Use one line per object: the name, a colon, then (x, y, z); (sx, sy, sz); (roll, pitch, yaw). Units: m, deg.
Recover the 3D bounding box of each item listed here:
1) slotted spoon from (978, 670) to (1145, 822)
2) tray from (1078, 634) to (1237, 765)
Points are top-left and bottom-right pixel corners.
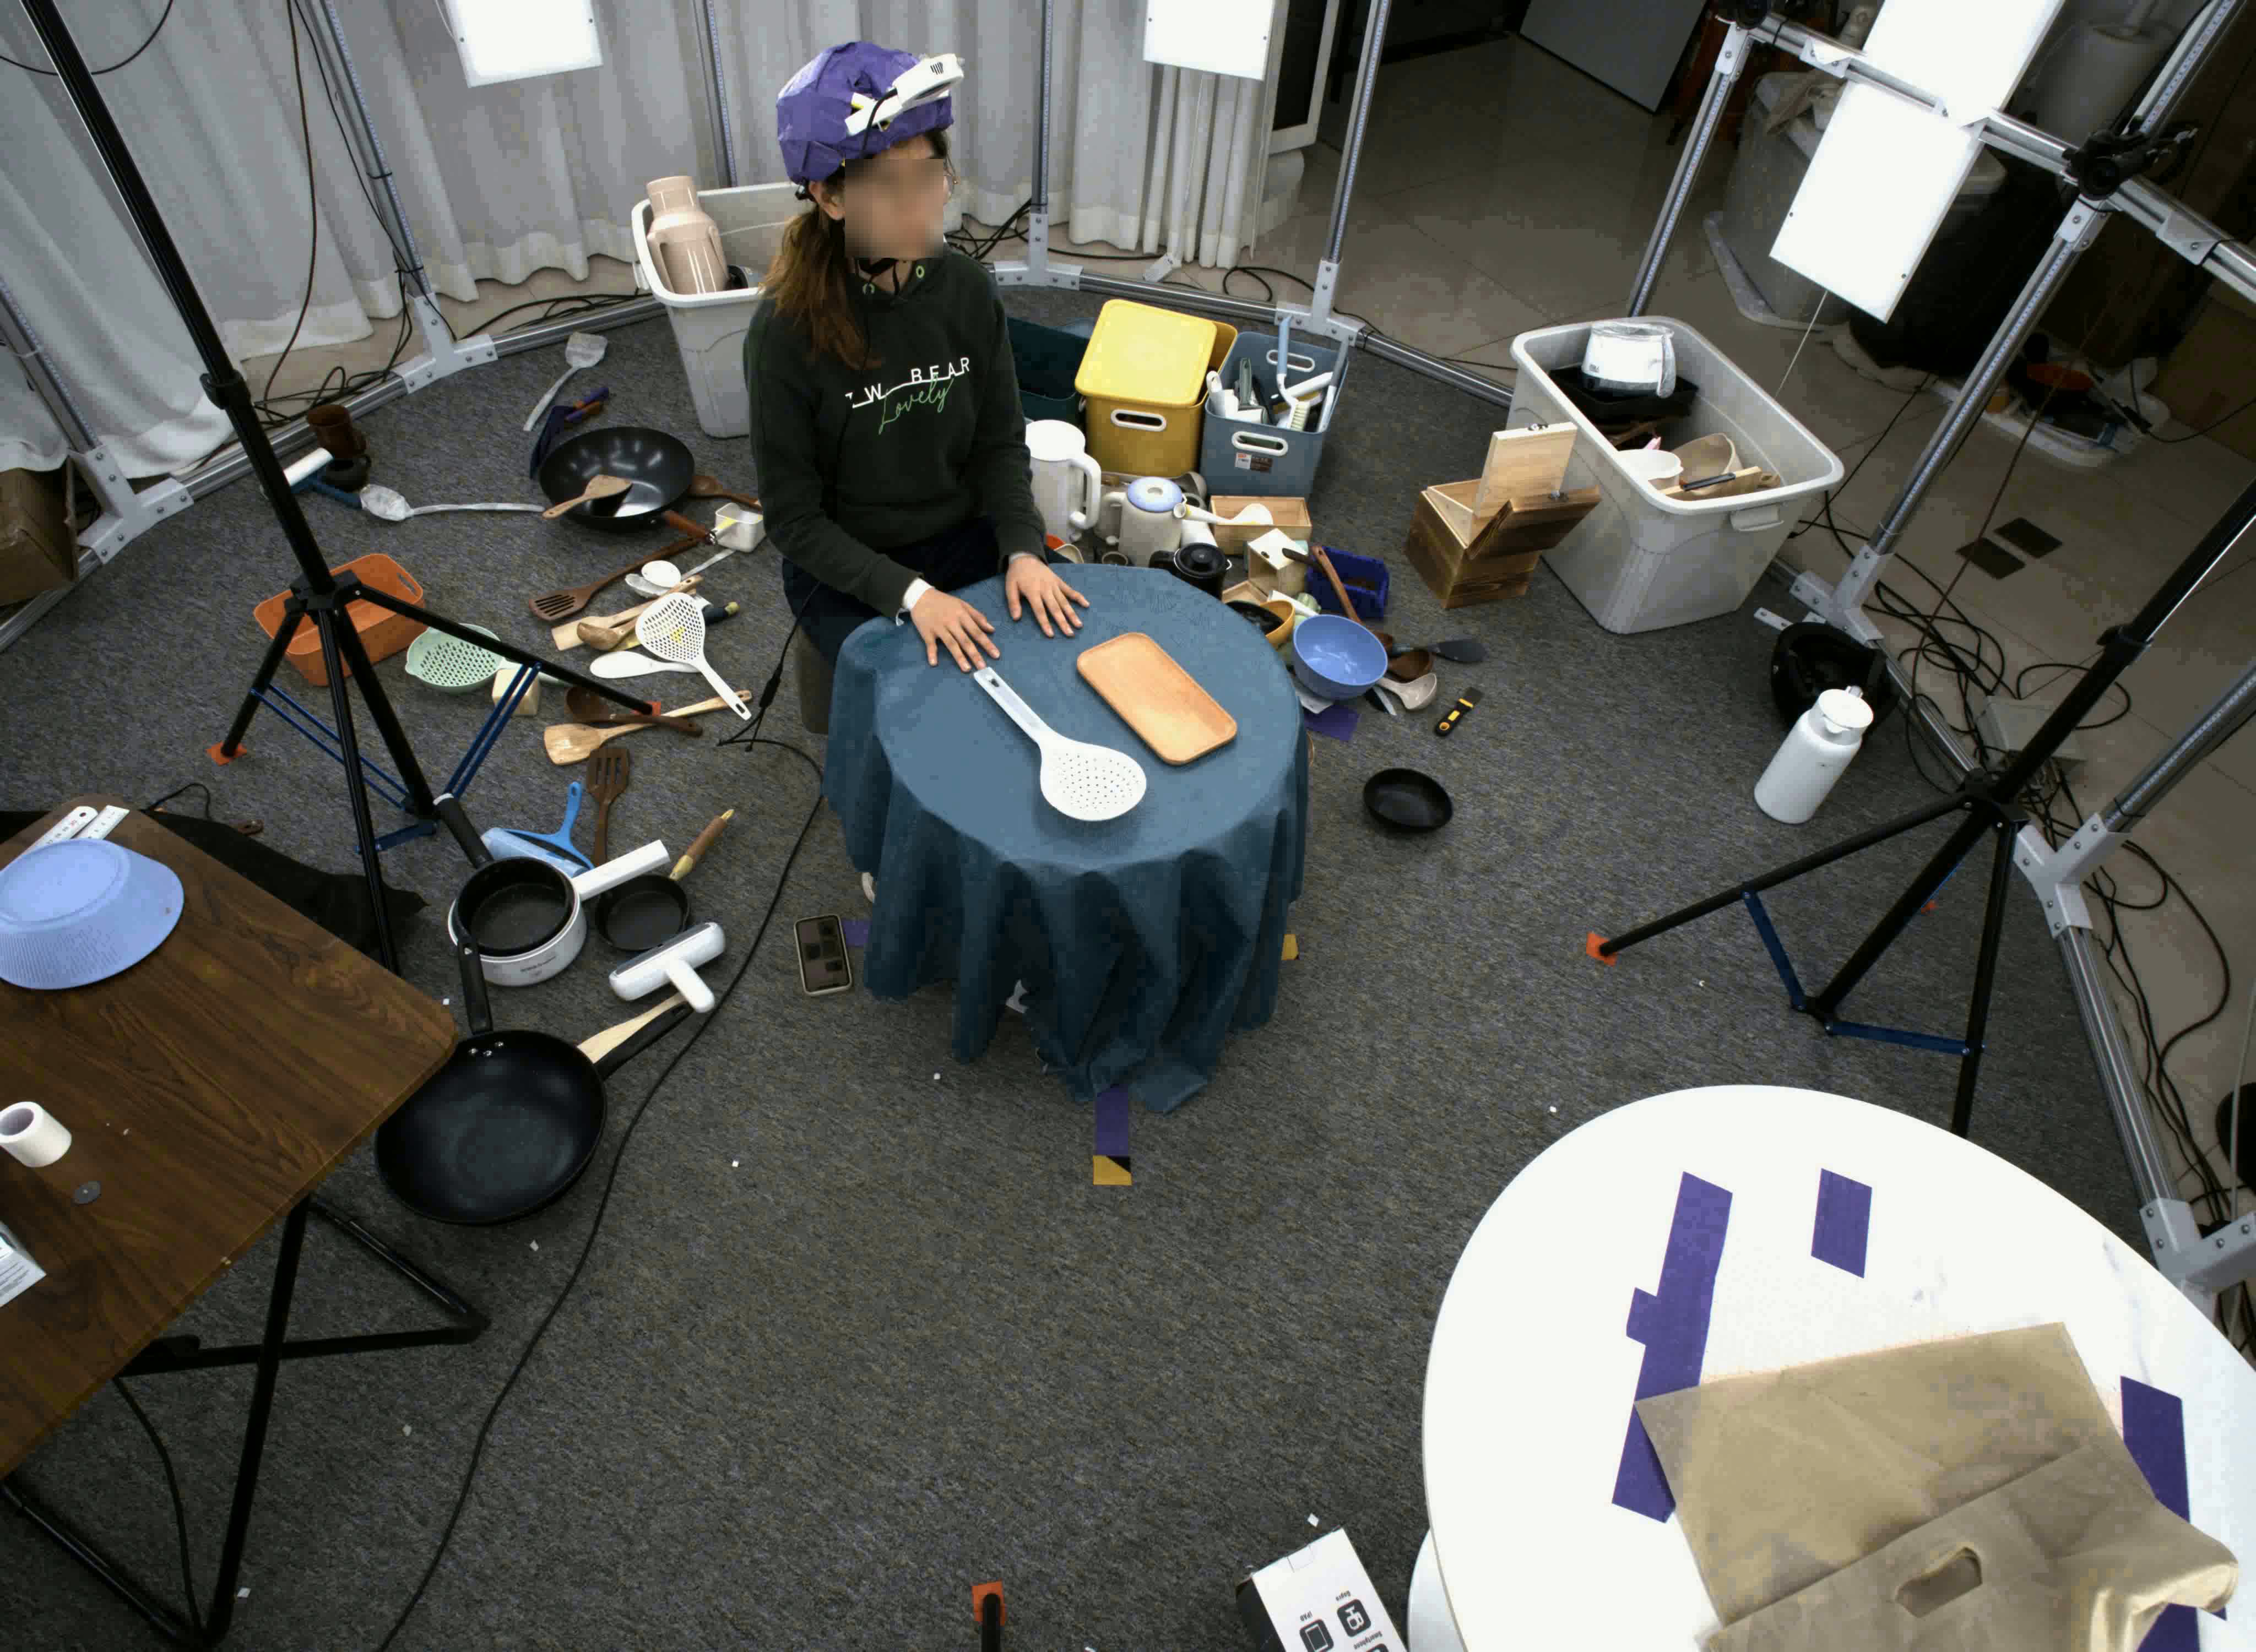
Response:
slotted spoon: (-0.107, -0.115, 1.747); (0.136, 0.044, 0.356); (-24, 54, -25)
tray: (0.039, -0.184, 1.836); (0.131, 0.022, 0.255); (-25, 54, -25)
